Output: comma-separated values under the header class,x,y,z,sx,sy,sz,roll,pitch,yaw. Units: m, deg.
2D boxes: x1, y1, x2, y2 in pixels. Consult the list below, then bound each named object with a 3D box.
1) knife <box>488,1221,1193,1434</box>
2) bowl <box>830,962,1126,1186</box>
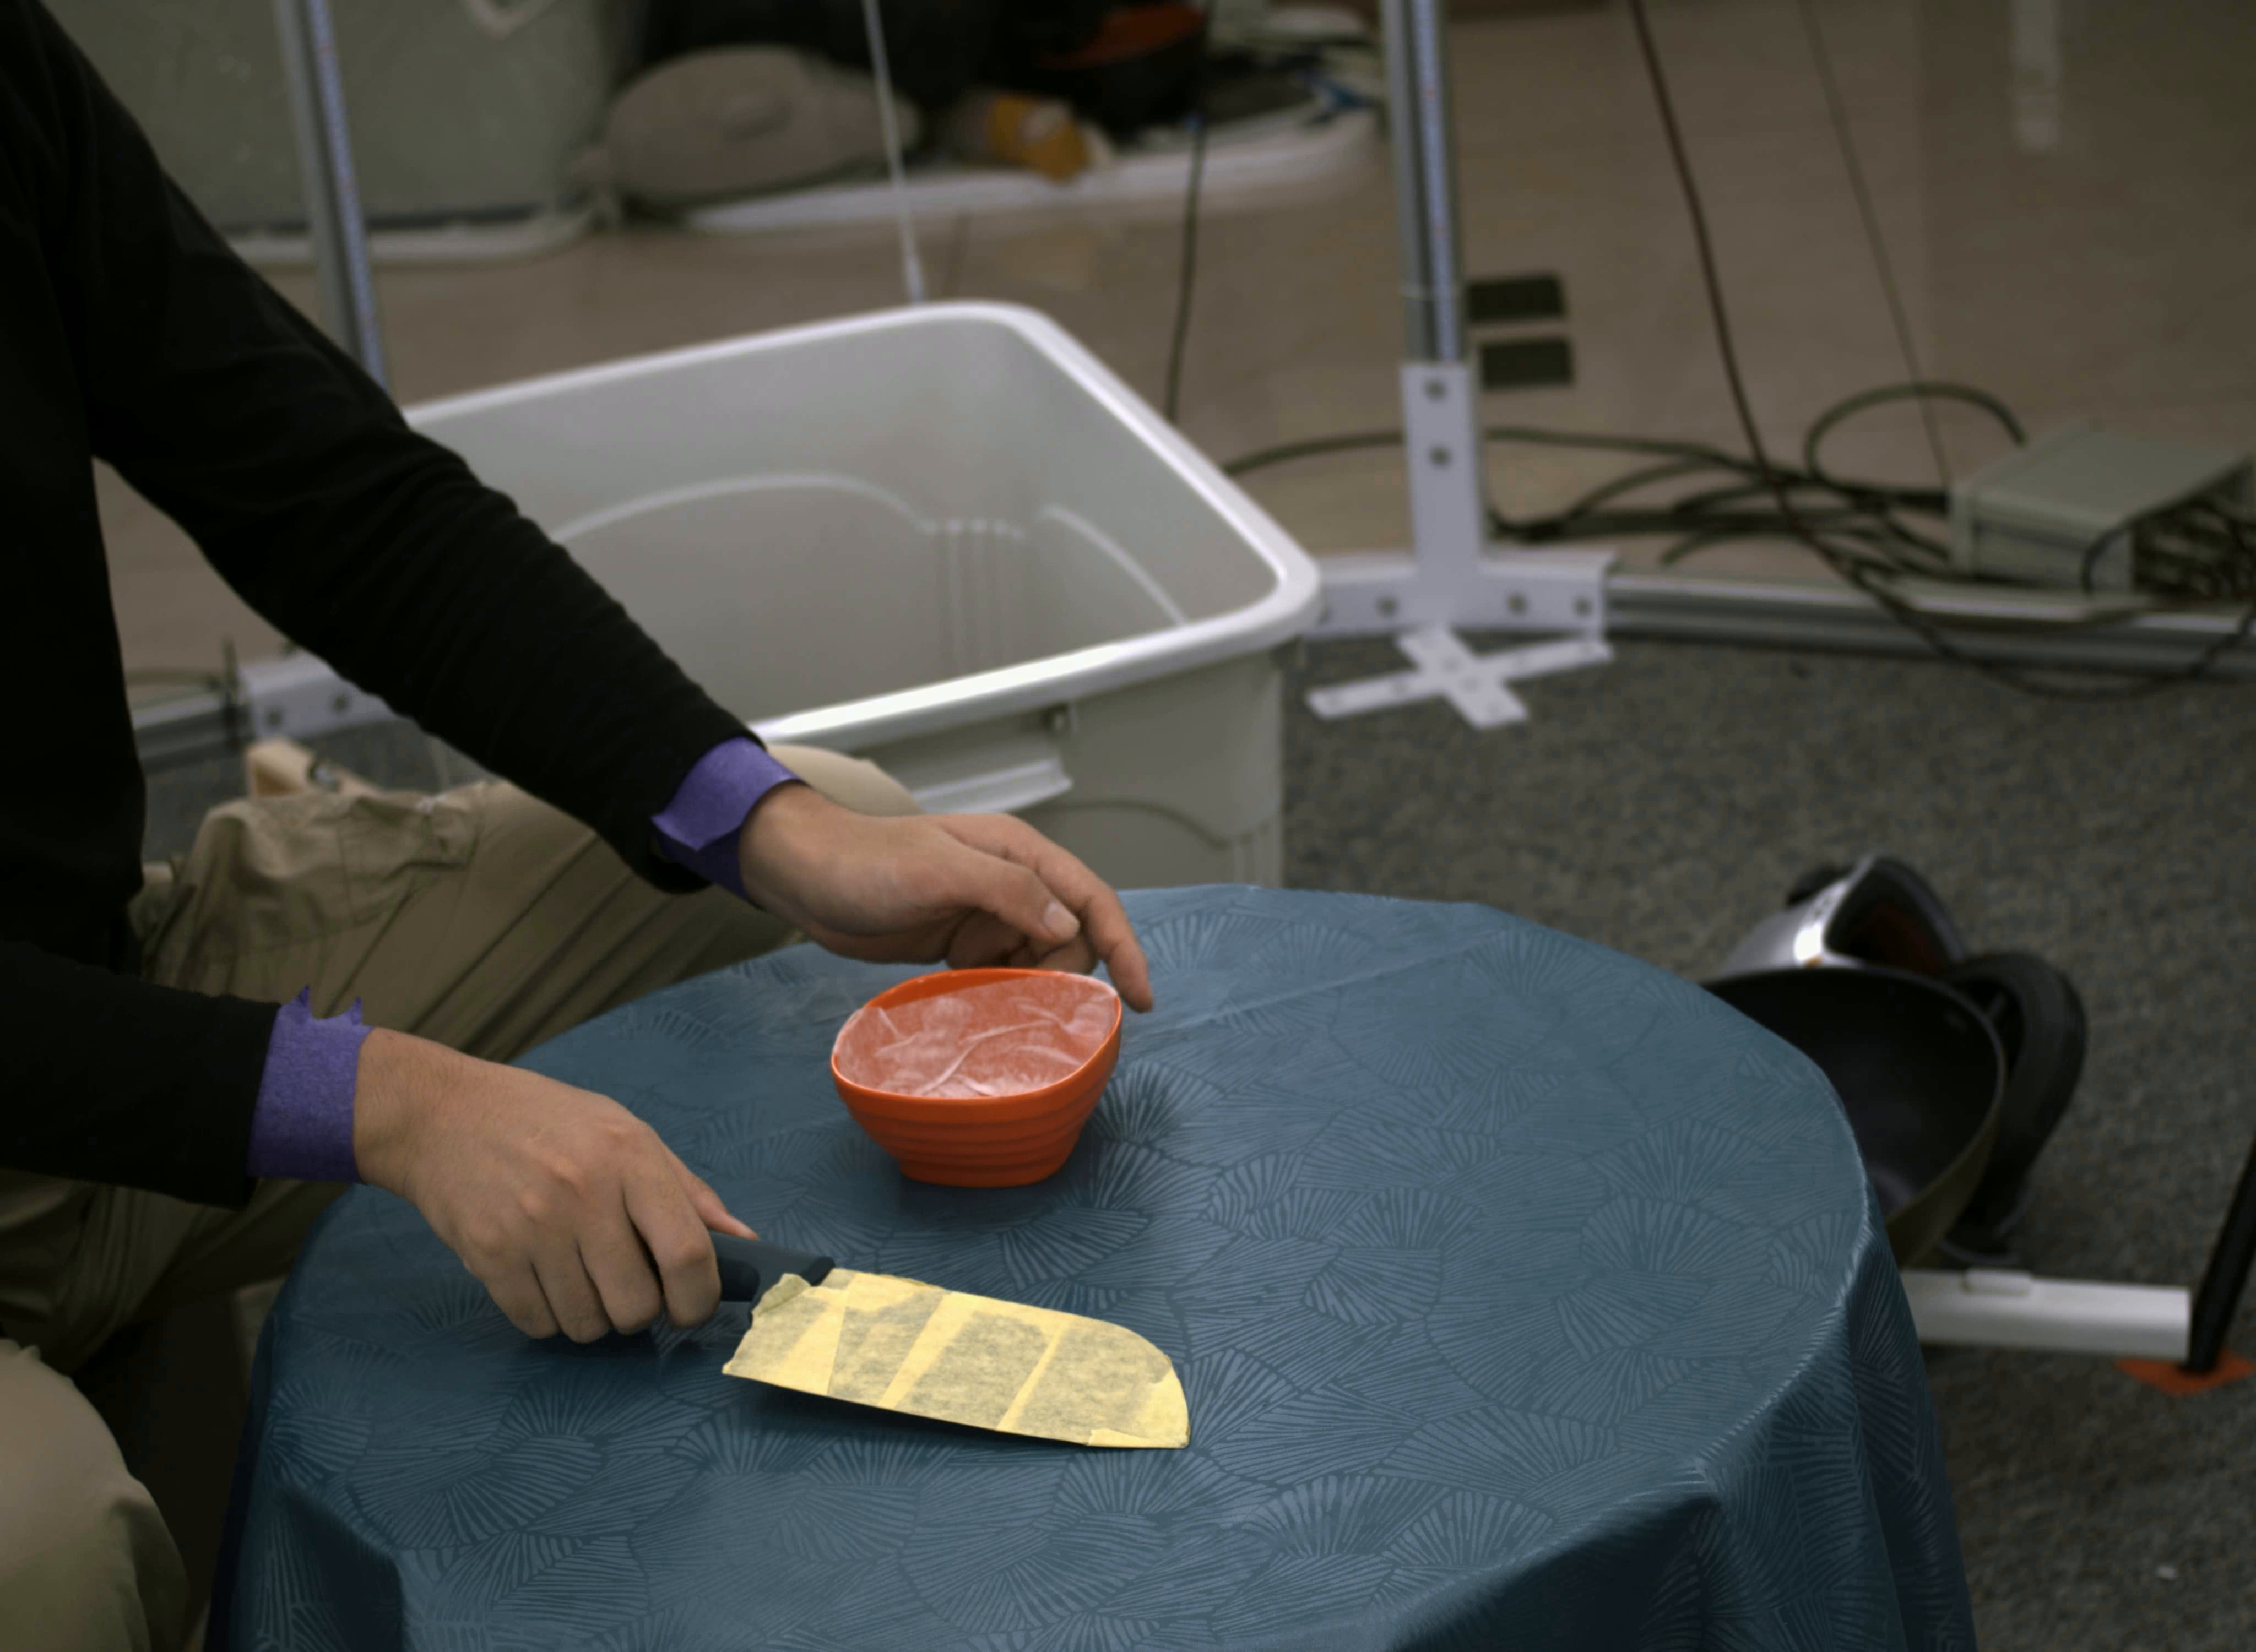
class,x,y,z,sx,sy,sz,roll,pitch,yaw
knife,-0.110,0.181,2.046,0.288,0.028,0.080,9,32,22
bowl,-0.055,0.100,2.184,0.119,0.052,0.117,-4,27,2
